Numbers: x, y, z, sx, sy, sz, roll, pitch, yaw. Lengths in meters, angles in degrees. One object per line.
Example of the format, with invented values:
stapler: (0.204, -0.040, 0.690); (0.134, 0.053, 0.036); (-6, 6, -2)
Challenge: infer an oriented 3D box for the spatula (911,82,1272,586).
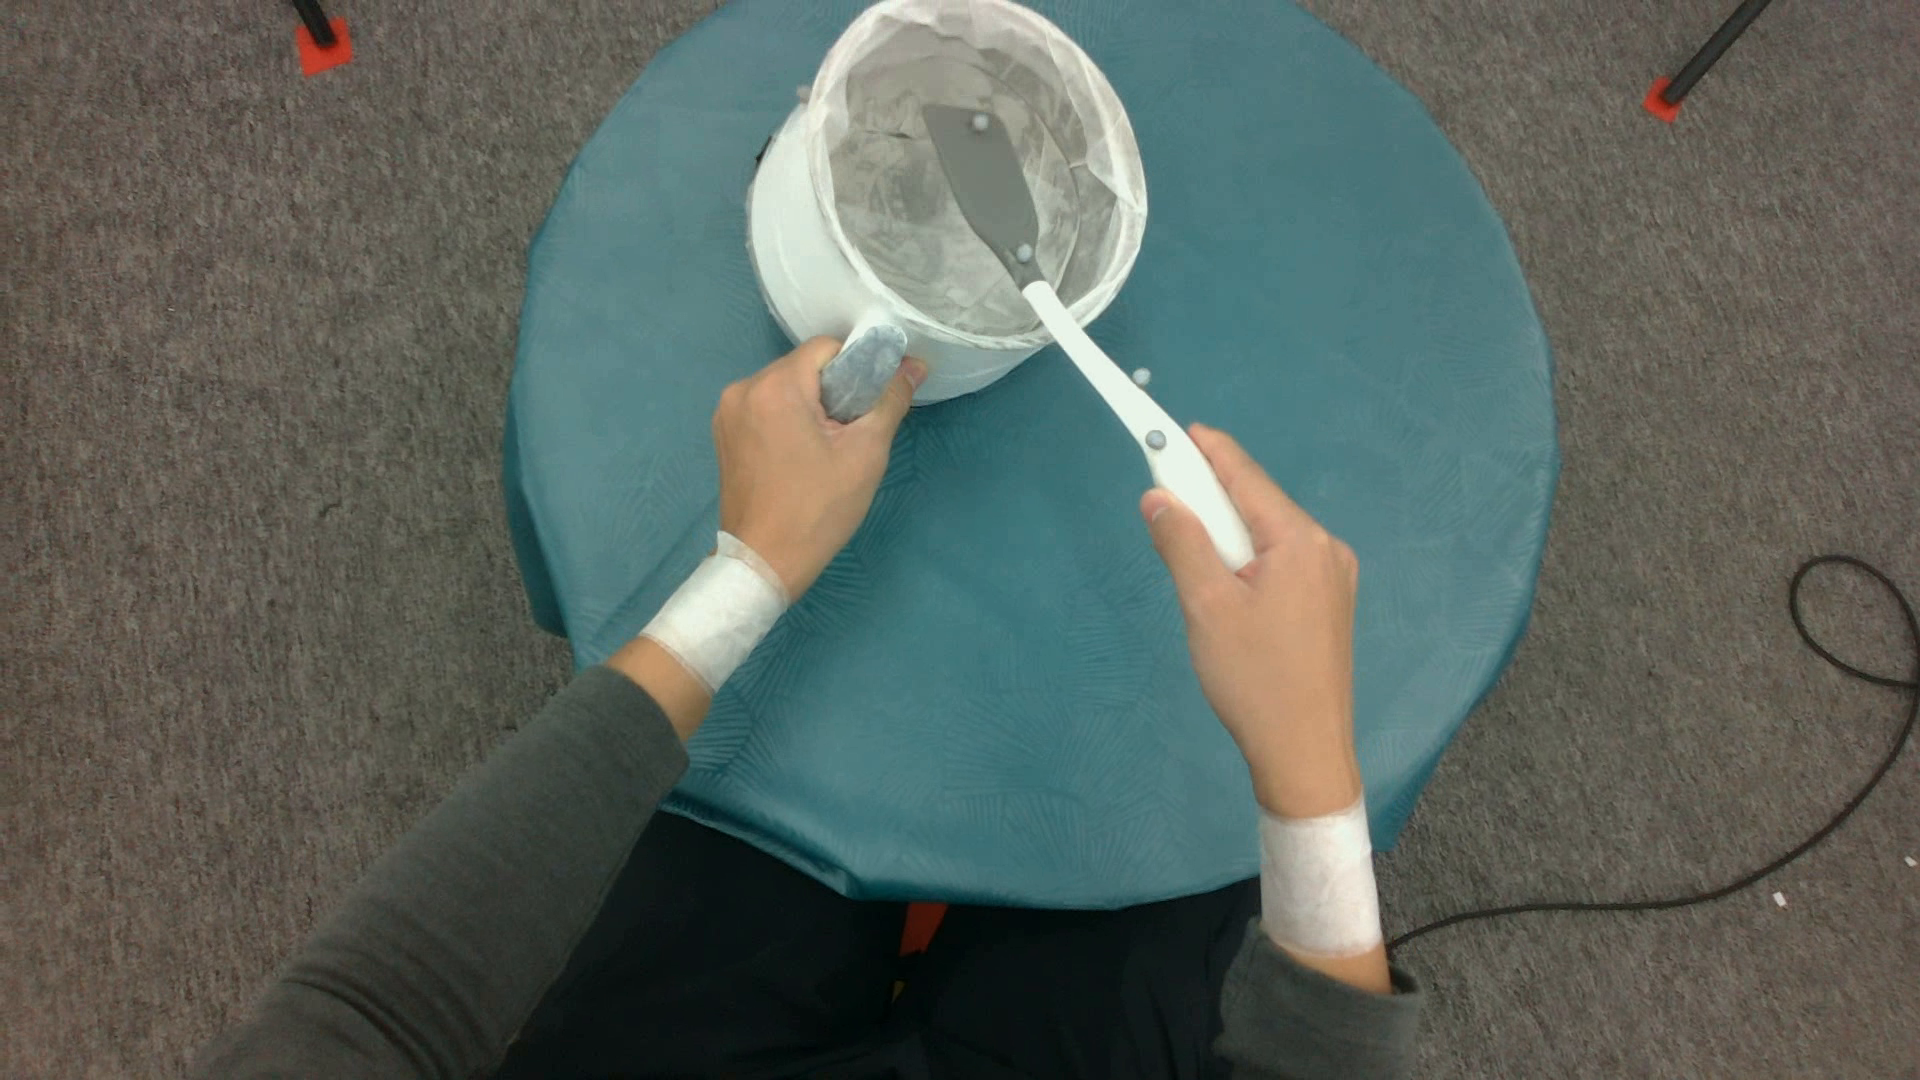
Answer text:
spatula: (0.052, -0.104, 0.630); (0.059, 0.032, 0.288); (-8, 59, -39)

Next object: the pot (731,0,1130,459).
pot: (-0.032, -0.149, 0.703); (0.178, 0.136, 0.234); (32, 70, -16)
